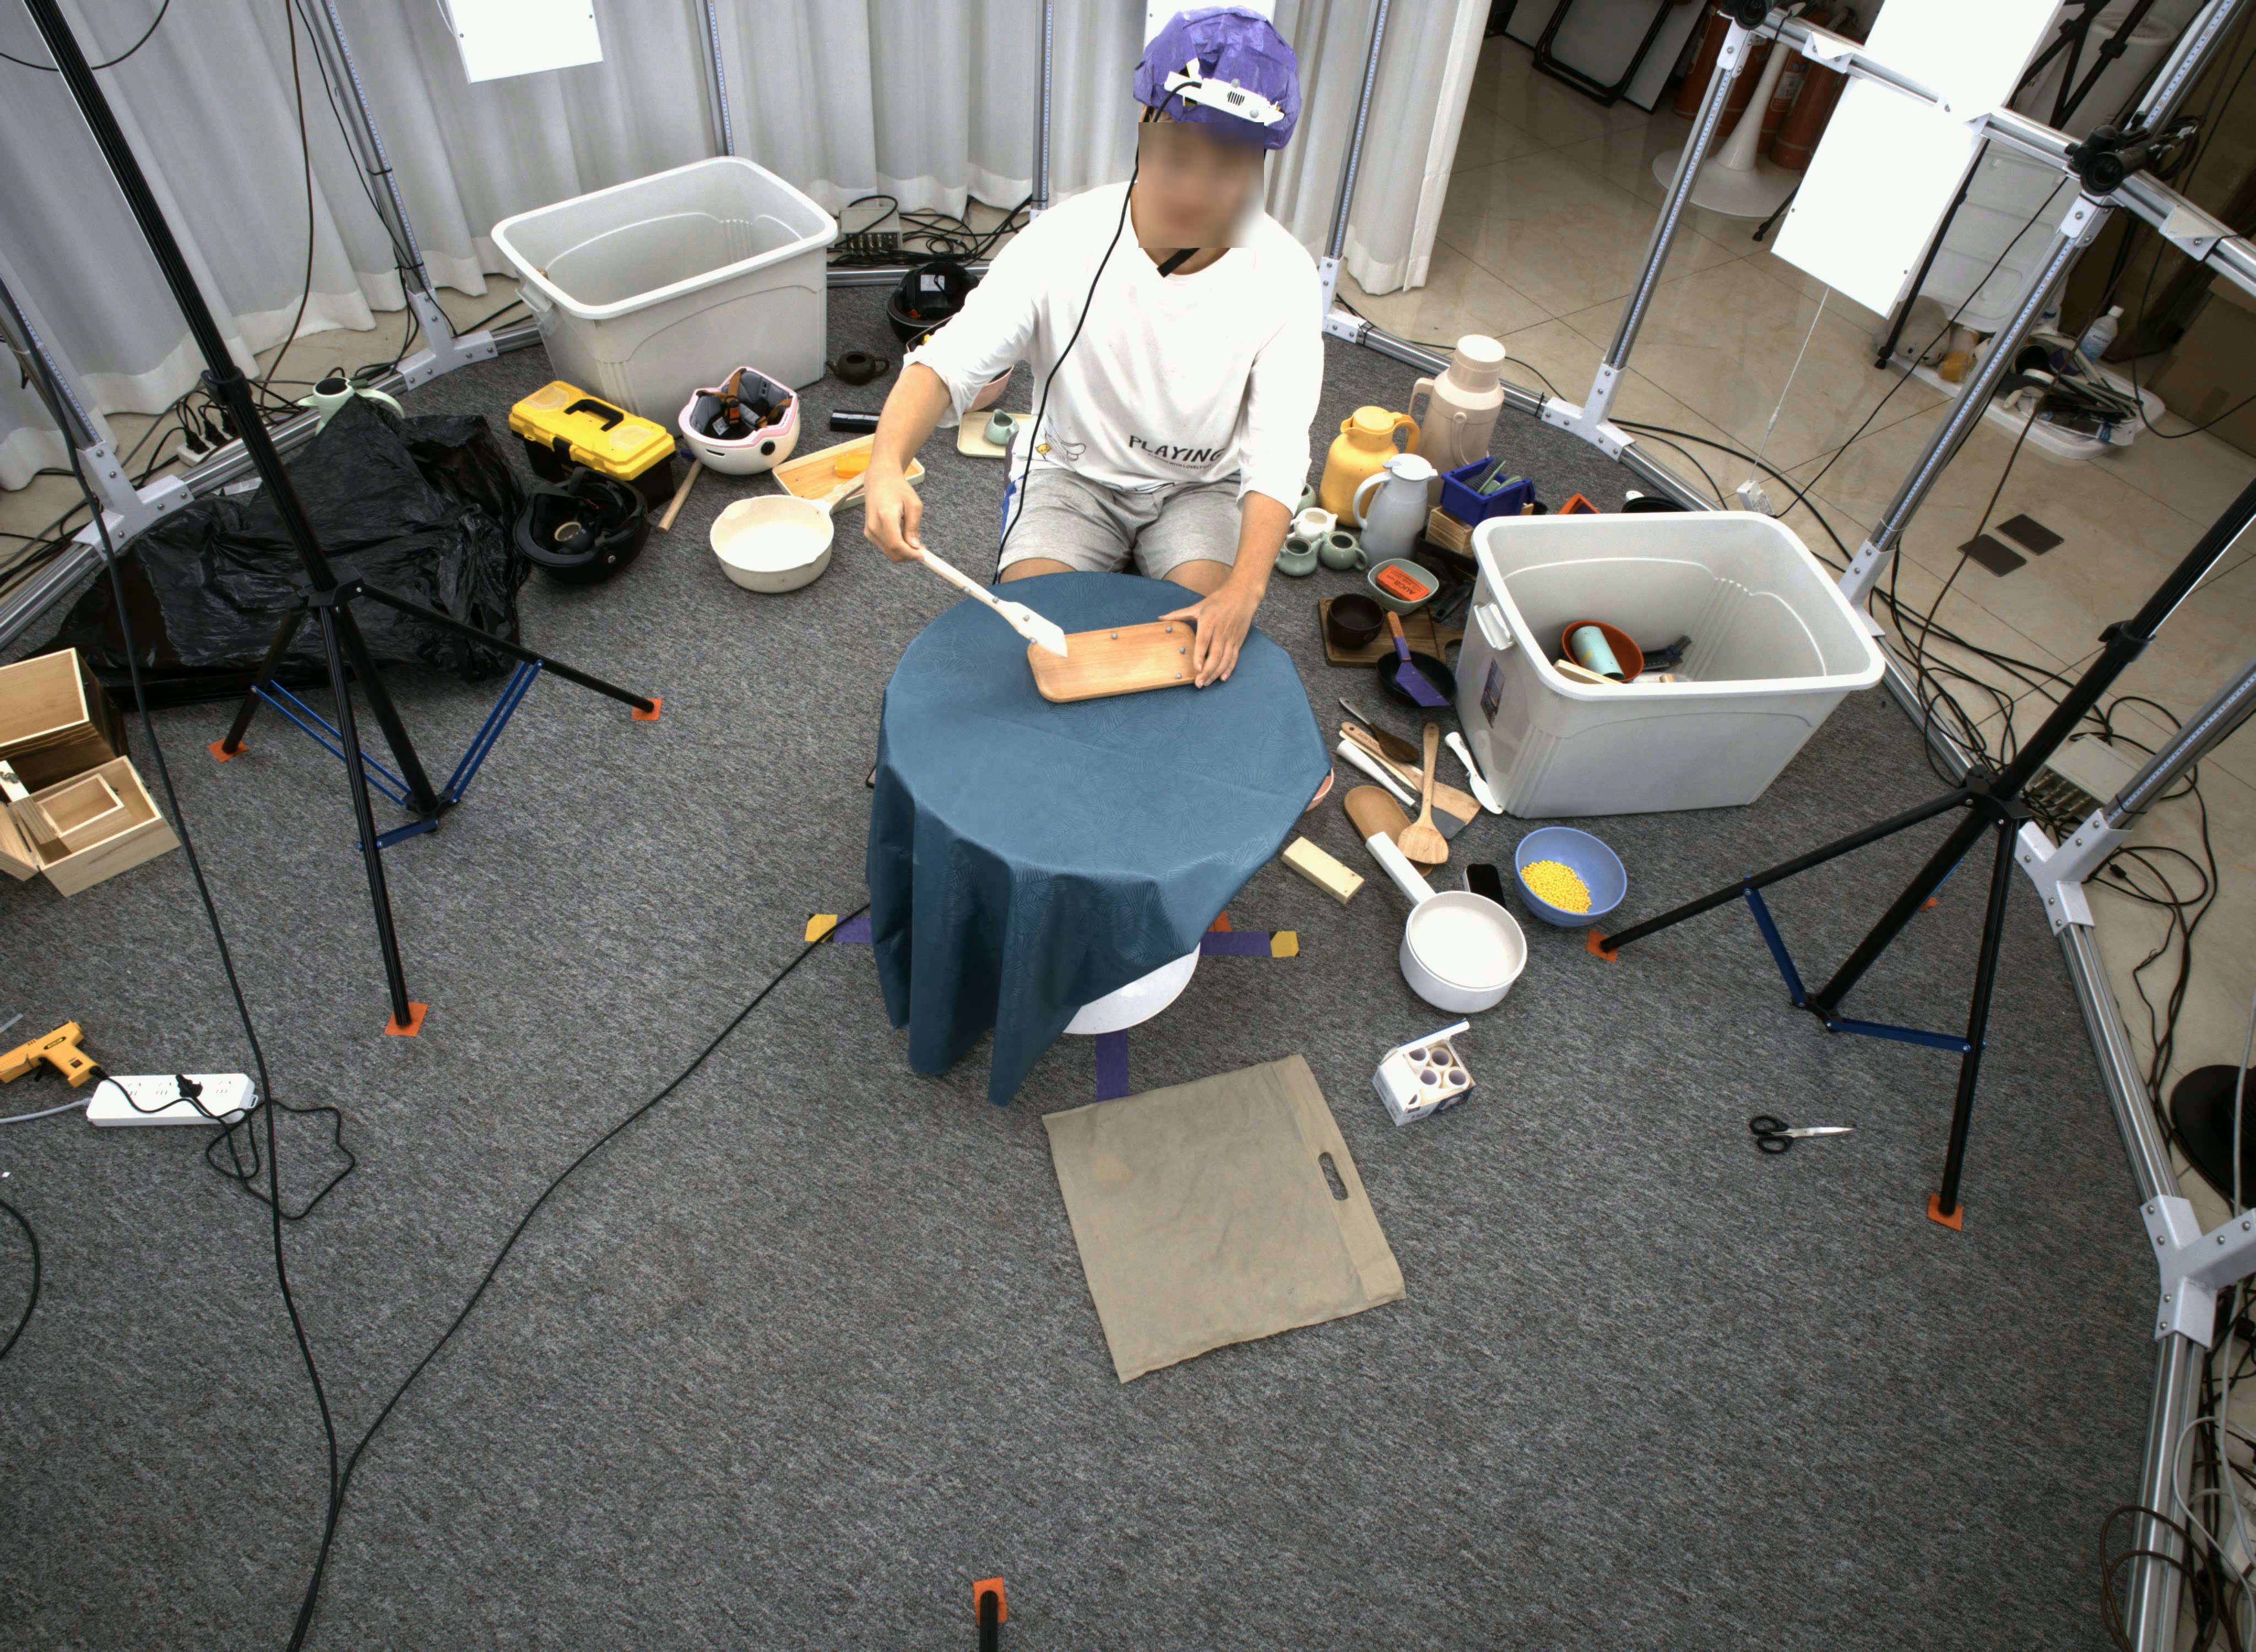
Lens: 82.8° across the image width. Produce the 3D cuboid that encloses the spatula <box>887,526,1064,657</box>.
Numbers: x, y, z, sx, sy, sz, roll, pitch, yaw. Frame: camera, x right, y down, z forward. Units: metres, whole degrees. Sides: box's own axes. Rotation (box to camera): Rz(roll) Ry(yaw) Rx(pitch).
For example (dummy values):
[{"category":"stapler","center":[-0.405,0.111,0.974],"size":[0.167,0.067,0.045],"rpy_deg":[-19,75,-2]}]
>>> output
[{"category":"spatula","center":[-0.200,-0.316,1.728],"size":[0.288,0.010,0.074],"rpy_deg":[30,31,-31]}]

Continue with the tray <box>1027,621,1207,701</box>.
[{"category":"tray","center":[-0.016,-0.240,1.862],"size":[0.250,0.022,0.134],"rpy_deg":[-9,48,-11]}]
